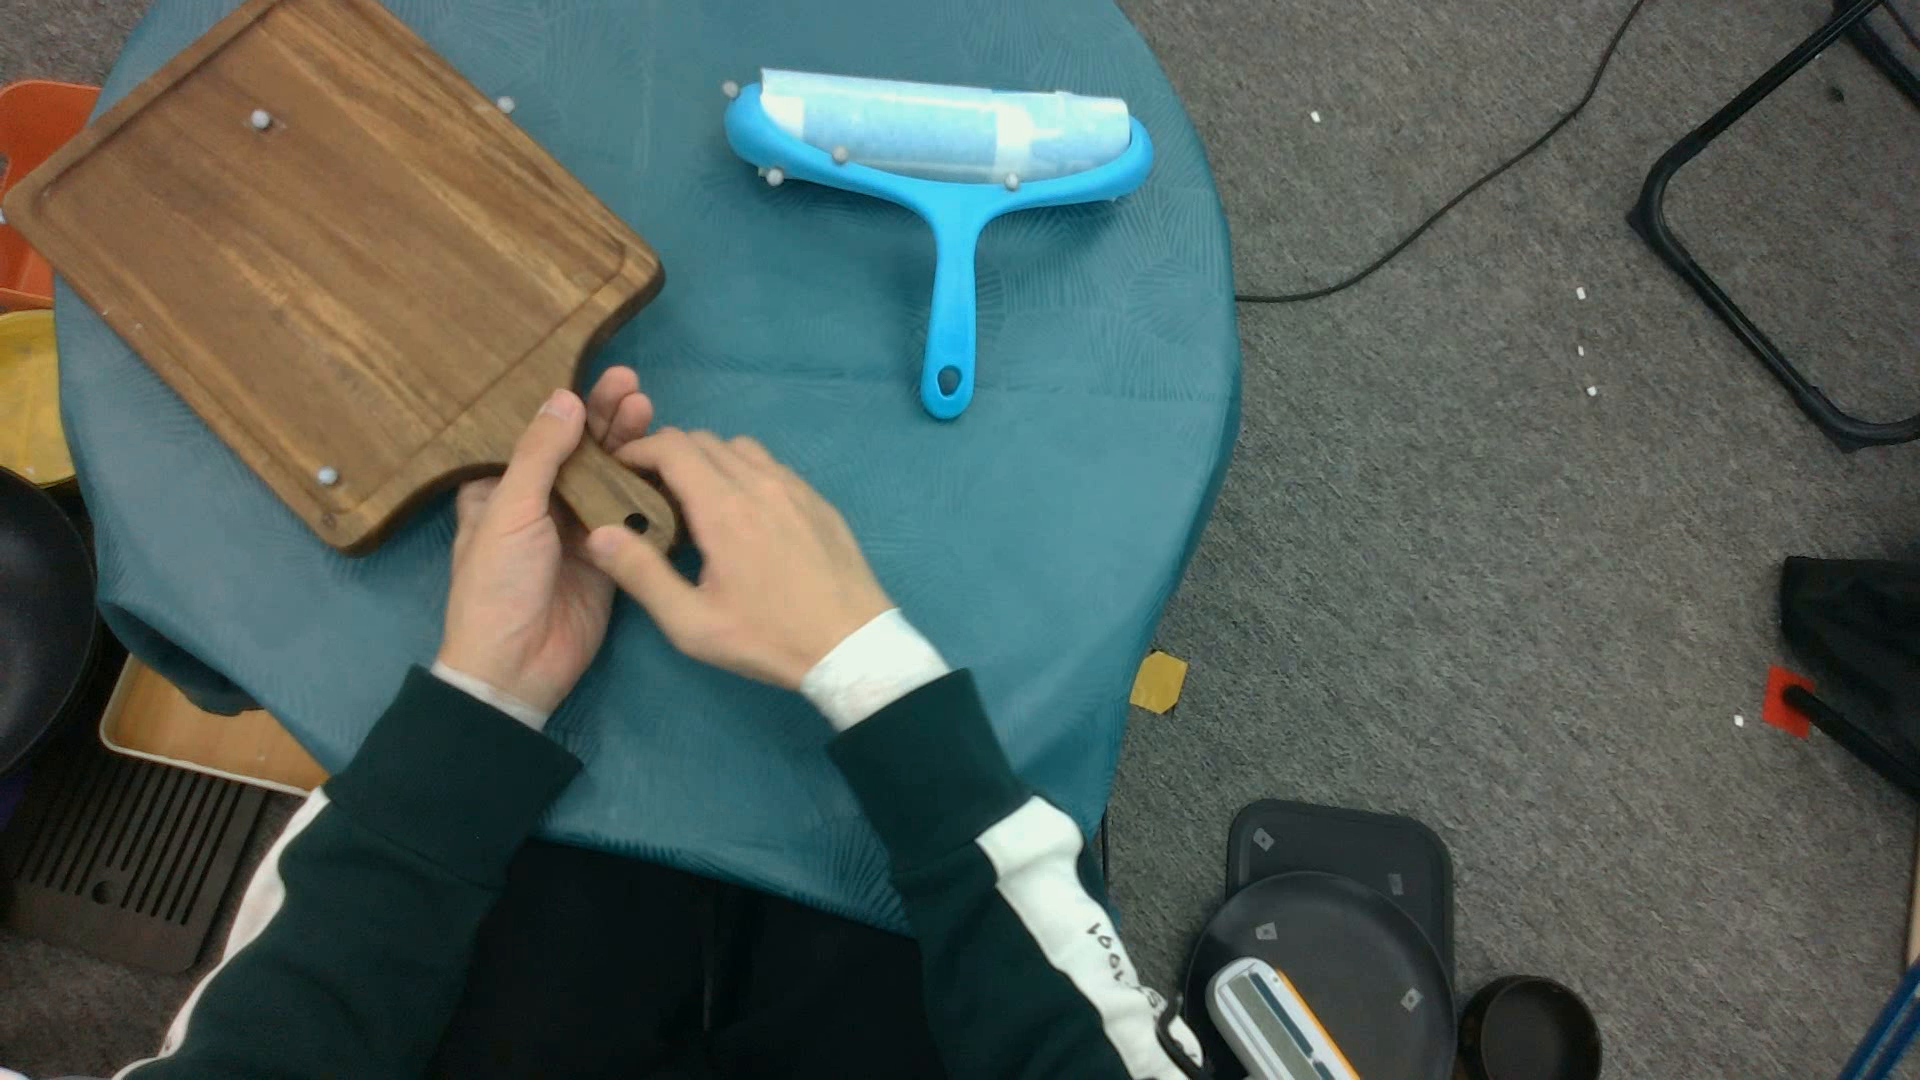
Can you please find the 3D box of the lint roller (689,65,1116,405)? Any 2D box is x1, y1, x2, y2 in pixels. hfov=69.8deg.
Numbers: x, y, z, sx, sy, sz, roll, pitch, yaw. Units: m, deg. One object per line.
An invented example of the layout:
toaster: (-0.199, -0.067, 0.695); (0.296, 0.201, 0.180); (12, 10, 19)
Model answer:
lint roller: (-0.021, -0.166, 0.718); (0.229, 0.067, 0.180); (-3, 73, -14)

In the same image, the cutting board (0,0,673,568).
cutting board: (-0.271, -0.105, 0.638); (0.352, 0.023, 0.201); (39, 78, 8)
